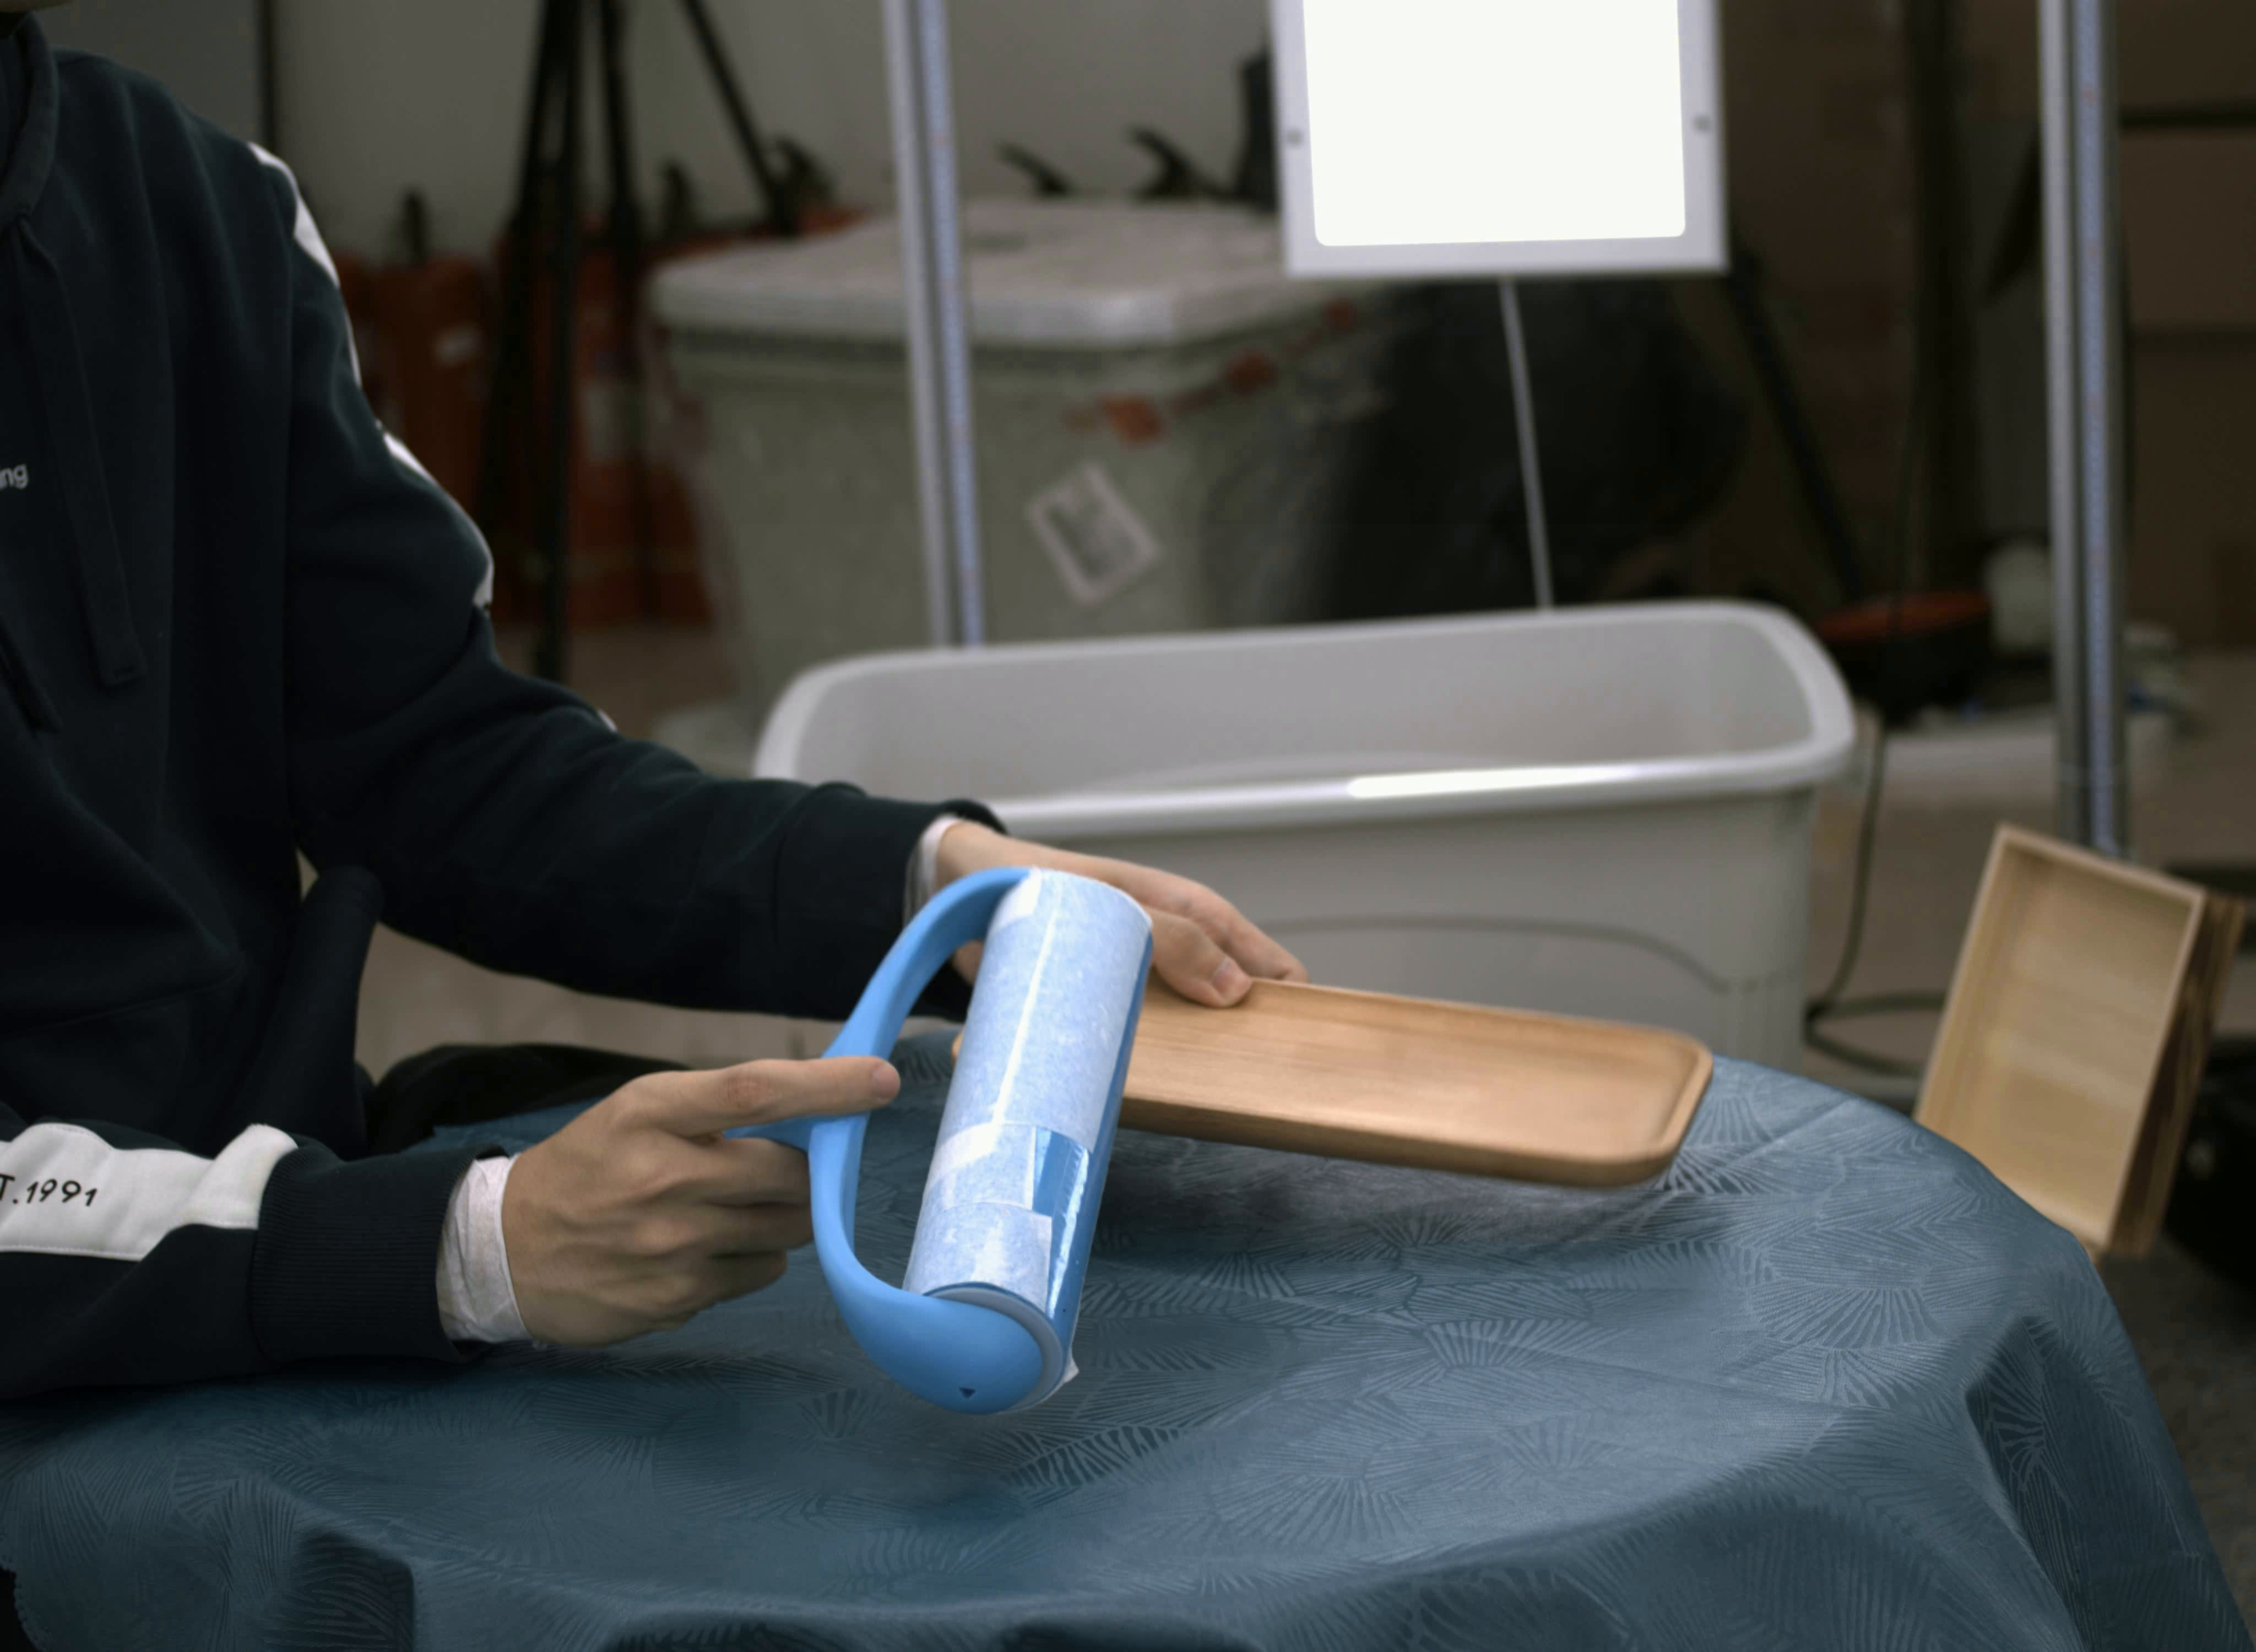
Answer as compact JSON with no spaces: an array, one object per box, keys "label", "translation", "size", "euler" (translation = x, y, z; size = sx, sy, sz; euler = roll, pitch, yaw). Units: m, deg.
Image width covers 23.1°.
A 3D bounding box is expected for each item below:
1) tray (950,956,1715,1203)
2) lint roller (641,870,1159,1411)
[{"label":"tray","translation":[0.070,0.083,1.867],"size":[0.253,0.023,0.128],"euler":[8,17,17]},{"label":"lint roller","translation":[-0.084,0.109,1.728],"size":[0.182,0.067,0.227],"euler":[-16,35,19]}]
